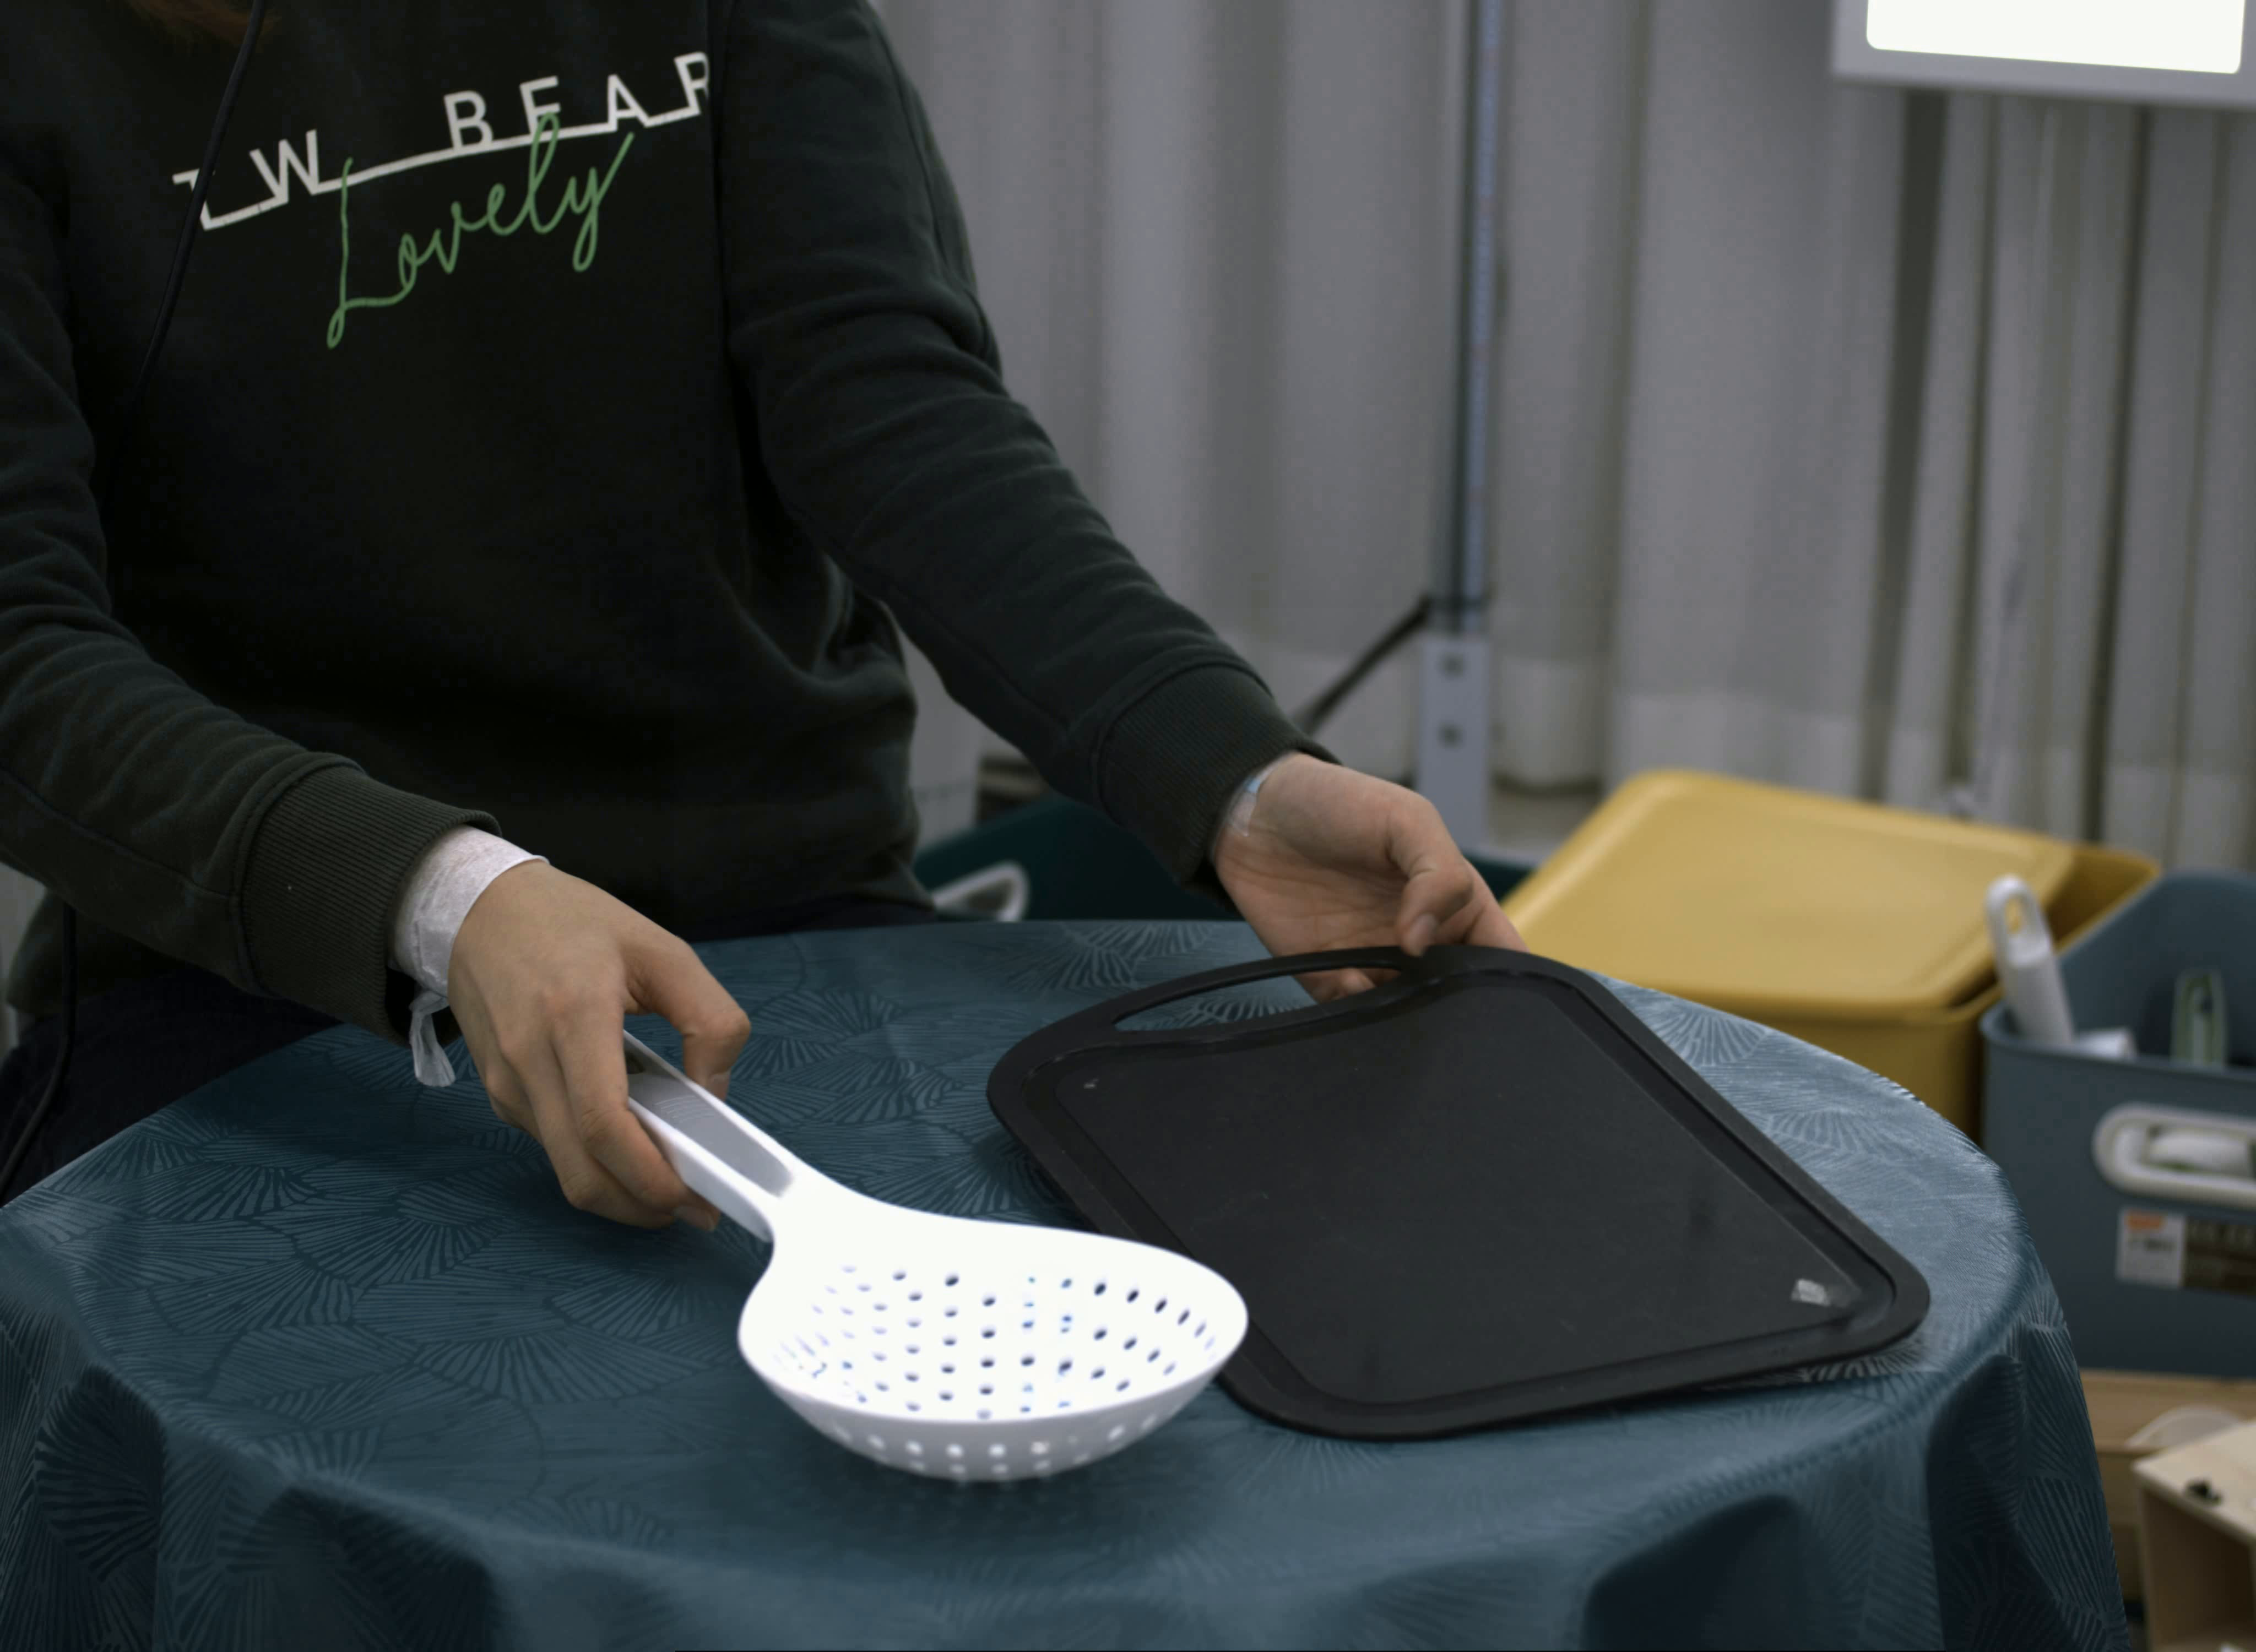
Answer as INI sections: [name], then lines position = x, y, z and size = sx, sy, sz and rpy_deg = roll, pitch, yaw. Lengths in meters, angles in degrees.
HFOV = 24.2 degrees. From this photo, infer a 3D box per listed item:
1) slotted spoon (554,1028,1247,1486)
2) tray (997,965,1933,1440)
[slotted spoon]
position = -0.087, 0.114, 1.497
size = 0.136, 0.046, 0.345
rpy_deg = -8, 23, -28
[tray]
position = 0.090, 0.104, 1.591
size = 0.211, 0.010, 0.321
rpy_deg = -8, 22, -18
